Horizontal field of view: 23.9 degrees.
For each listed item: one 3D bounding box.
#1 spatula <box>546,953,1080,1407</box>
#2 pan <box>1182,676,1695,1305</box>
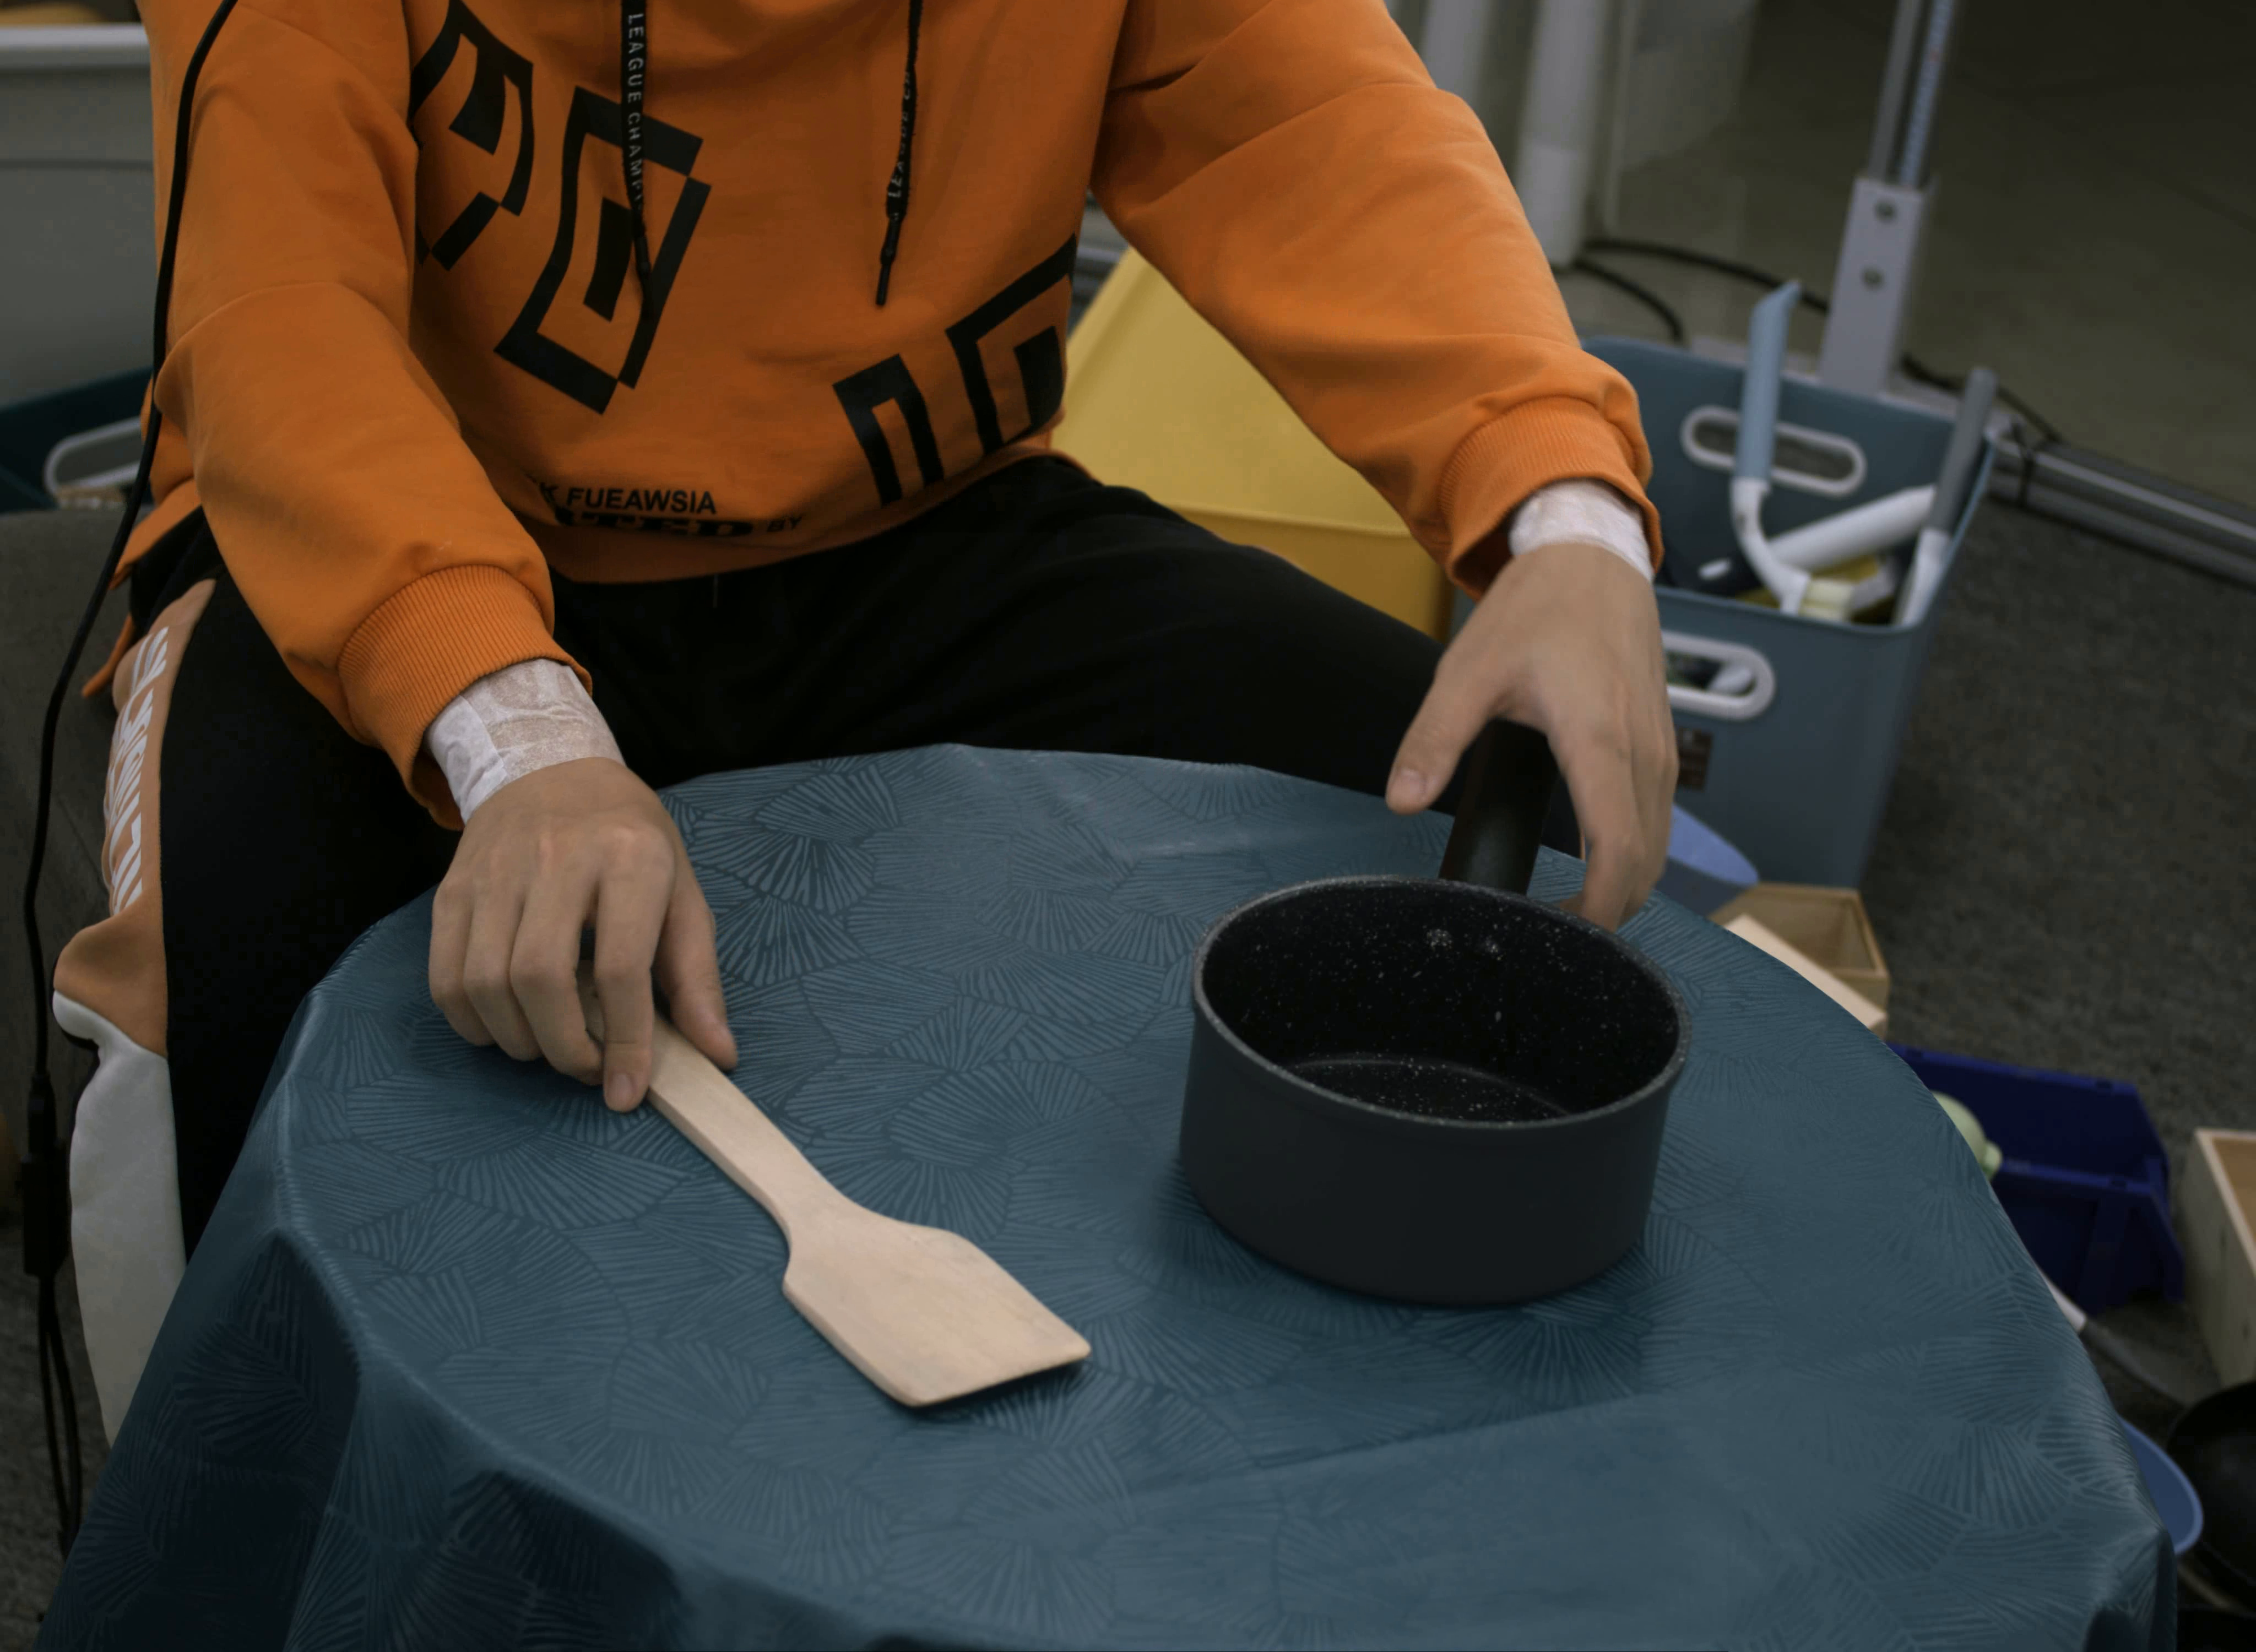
[{"bbox_3d":[-0.121,0.113,1.785,0.072,0.010,0.295,-15,34,-29],"label":"spatula"},{"bbox_3d":[0.121,0.053,1.876,0.172,0.086,0.329,13,29,10],"label":"pan"}]
